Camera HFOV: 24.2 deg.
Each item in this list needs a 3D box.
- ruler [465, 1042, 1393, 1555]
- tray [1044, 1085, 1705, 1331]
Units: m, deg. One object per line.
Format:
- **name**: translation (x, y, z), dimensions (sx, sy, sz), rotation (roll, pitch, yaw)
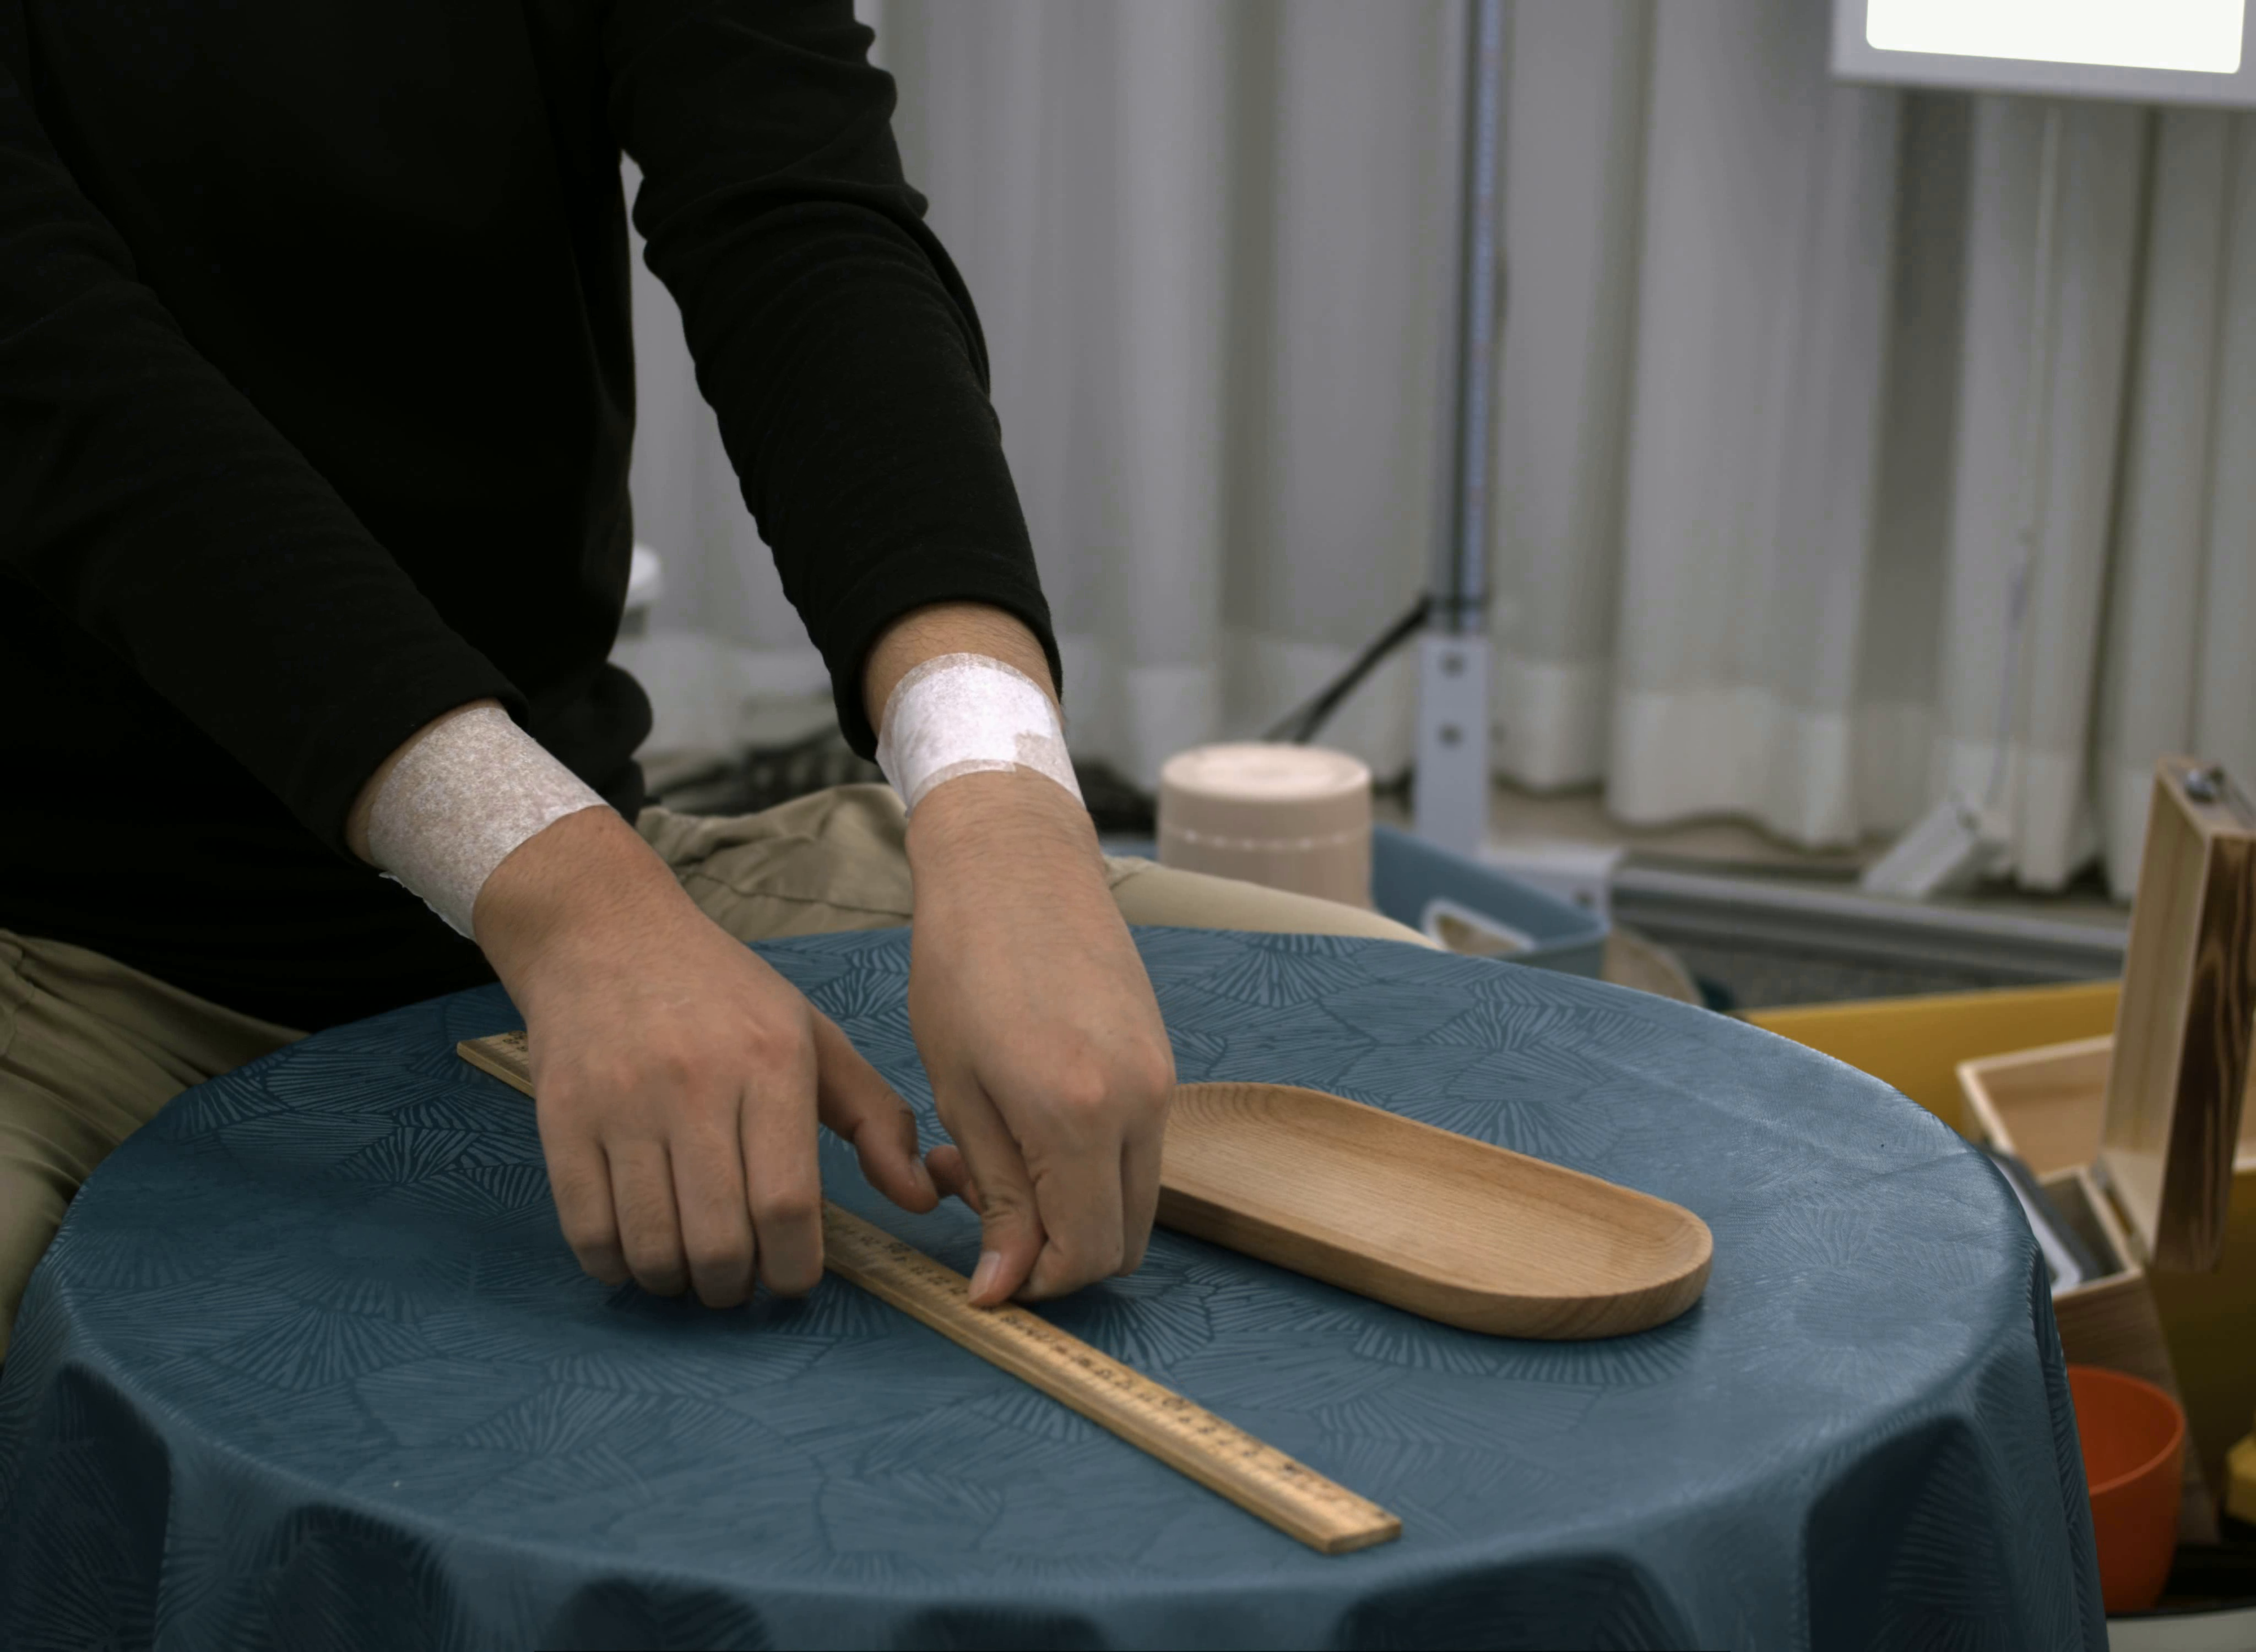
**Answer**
- **ruler**: translation (-0.074, 0.129, 1.552), dimensions (0.027, 0.006, 0.494), rotation (-4, 15, -33)
- **tray**: translation (0.072, 0.114, 1.587), dimensions (0.228, 0.020, 0.102), rotation (12, 18, 42)
